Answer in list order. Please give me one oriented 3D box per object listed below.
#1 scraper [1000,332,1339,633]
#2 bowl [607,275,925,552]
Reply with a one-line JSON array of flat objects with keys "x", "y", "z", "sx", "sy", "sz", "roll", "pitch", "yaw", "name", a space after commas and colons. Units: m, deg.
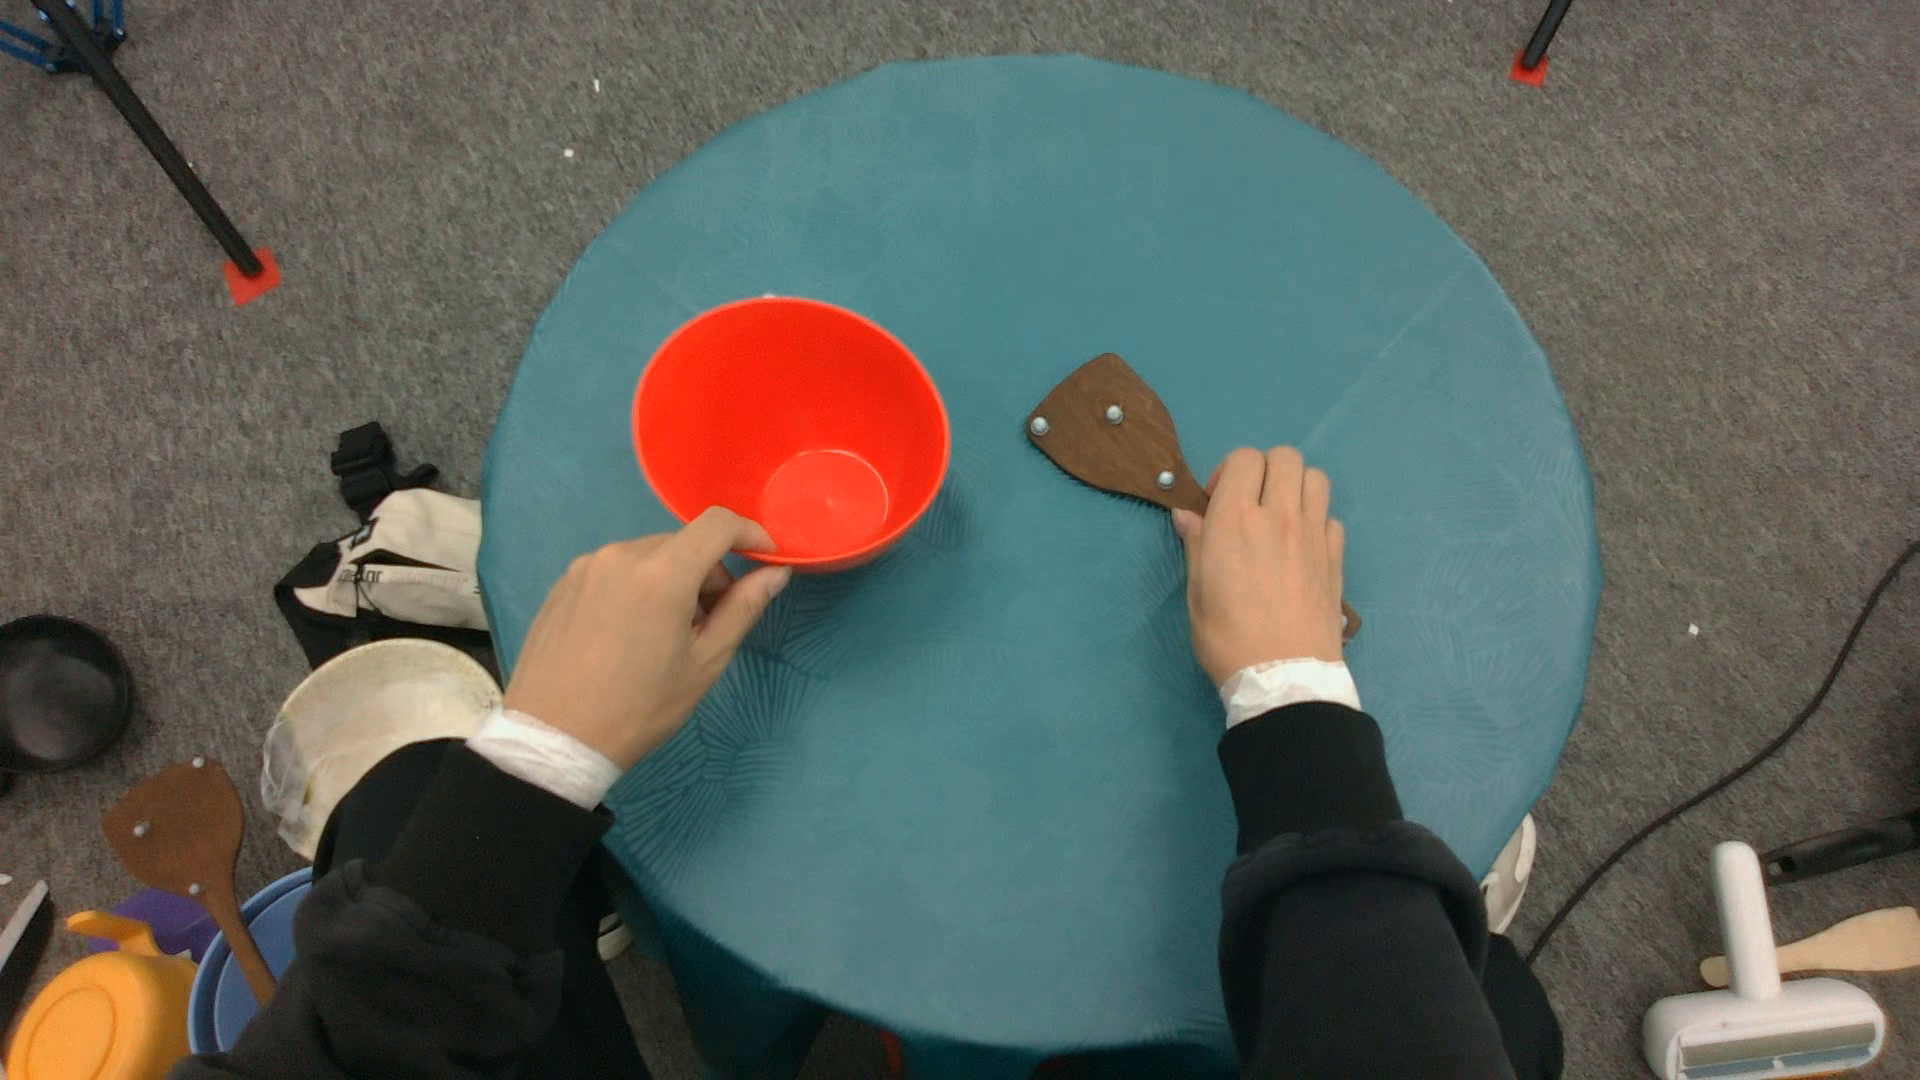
[{"x": 0.115, "y": -0.027, "z": 0.737, "sx": 0.076, "sy": 0.011, "sz": 0.211, "roll": -42, "pitch": 72, "yaw": -14, "name": "scraper"}, {"x": -0.092, "y": -0.049, "z": 0.688, "sx": 0.148, "sy": 0.104, "sz": 0.148, "roll": 2, "pitch": 64, "yaw": -3, "name": "bowl"}]
